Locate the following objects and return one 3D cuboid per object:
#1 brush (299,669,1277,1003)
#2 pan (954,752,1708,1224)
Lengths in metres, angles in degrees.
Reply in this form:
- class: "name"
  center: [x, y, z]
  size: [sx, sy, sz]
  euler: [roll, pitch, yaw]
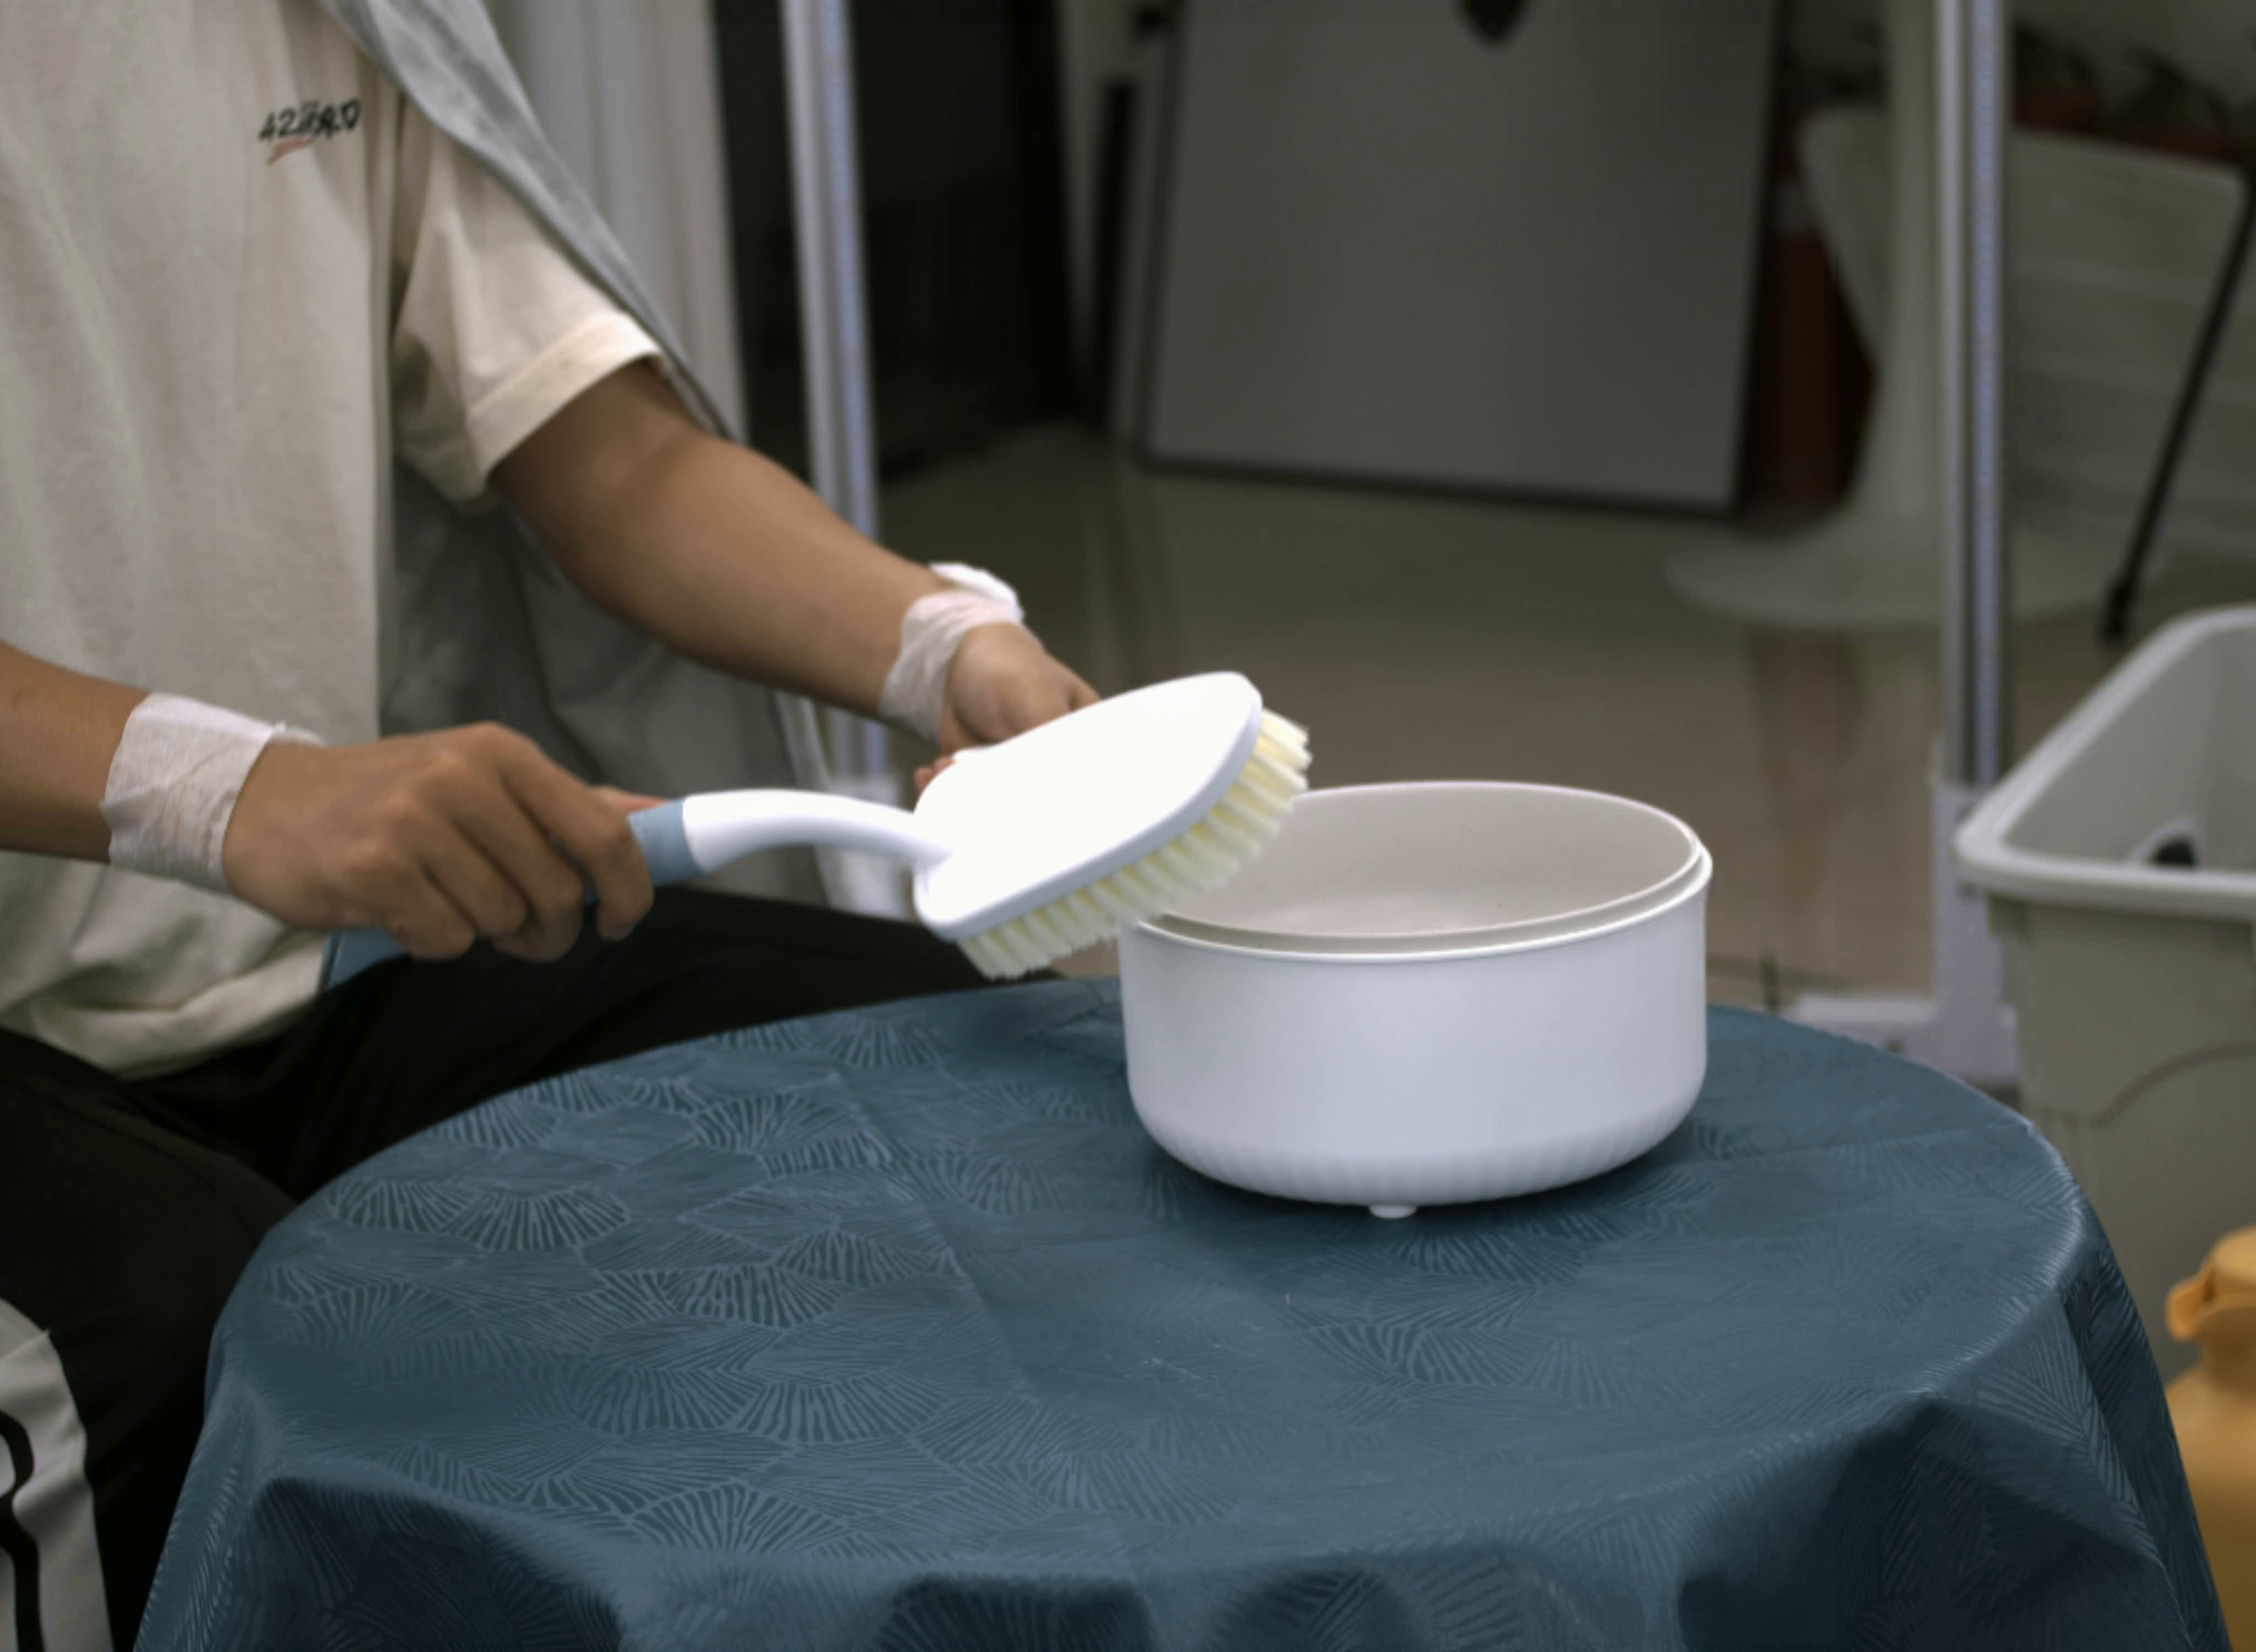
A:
- class: "brush"
  center: [-0.103, 0.022, 1.700]
  size: [0.324, 0.085, 0.082]
  euler: [-16, 6, 14]
- class: "pan"
  center: [0.051, 0.048, 1.851]
  size: [0.197, 0.103, 0.358]
  euler: [-13, 16, -32]
